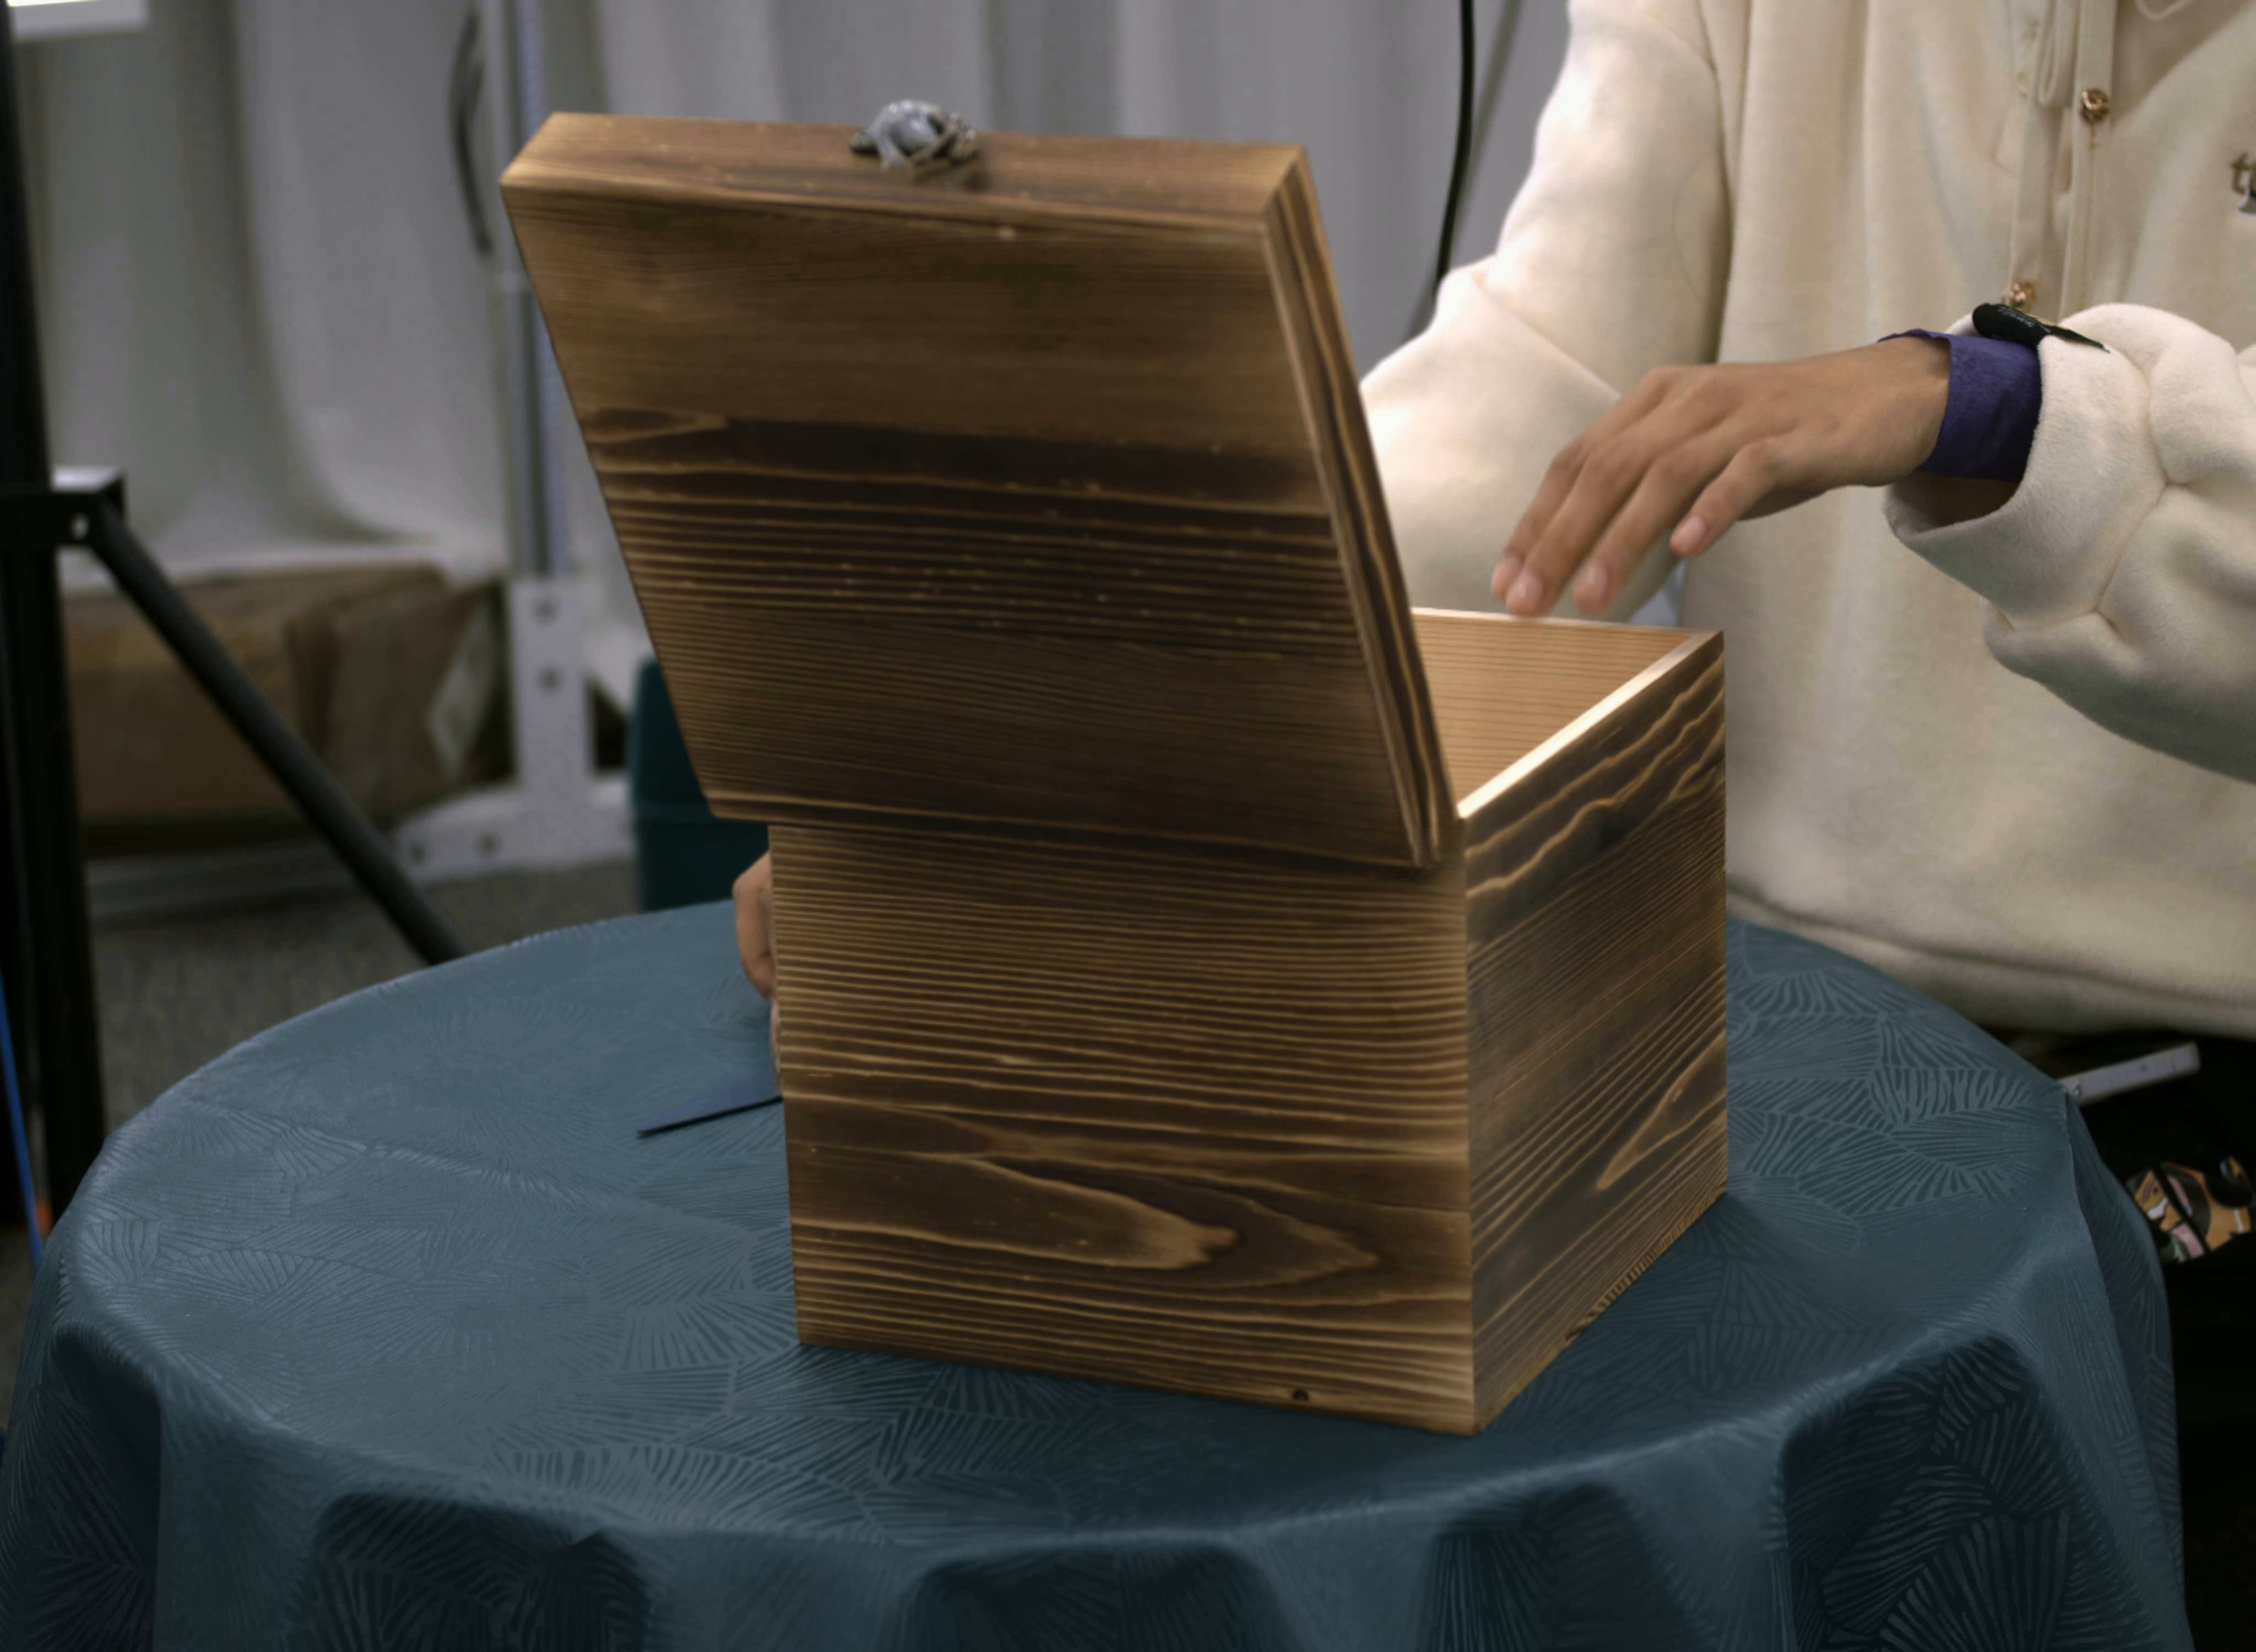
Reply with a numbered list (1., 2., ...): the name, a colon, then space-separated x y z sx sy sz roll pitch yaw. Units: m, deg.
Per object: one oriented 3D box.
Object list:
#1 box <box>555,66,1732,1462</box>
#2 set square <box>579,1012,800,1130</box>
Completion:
1. box: 0.016 -0.032 1.401 0.212 0.375 0.317 6 19 25
2. set square: -0.123 0.074 1.687 0.129 0.006 0.062 -11 22 -29
